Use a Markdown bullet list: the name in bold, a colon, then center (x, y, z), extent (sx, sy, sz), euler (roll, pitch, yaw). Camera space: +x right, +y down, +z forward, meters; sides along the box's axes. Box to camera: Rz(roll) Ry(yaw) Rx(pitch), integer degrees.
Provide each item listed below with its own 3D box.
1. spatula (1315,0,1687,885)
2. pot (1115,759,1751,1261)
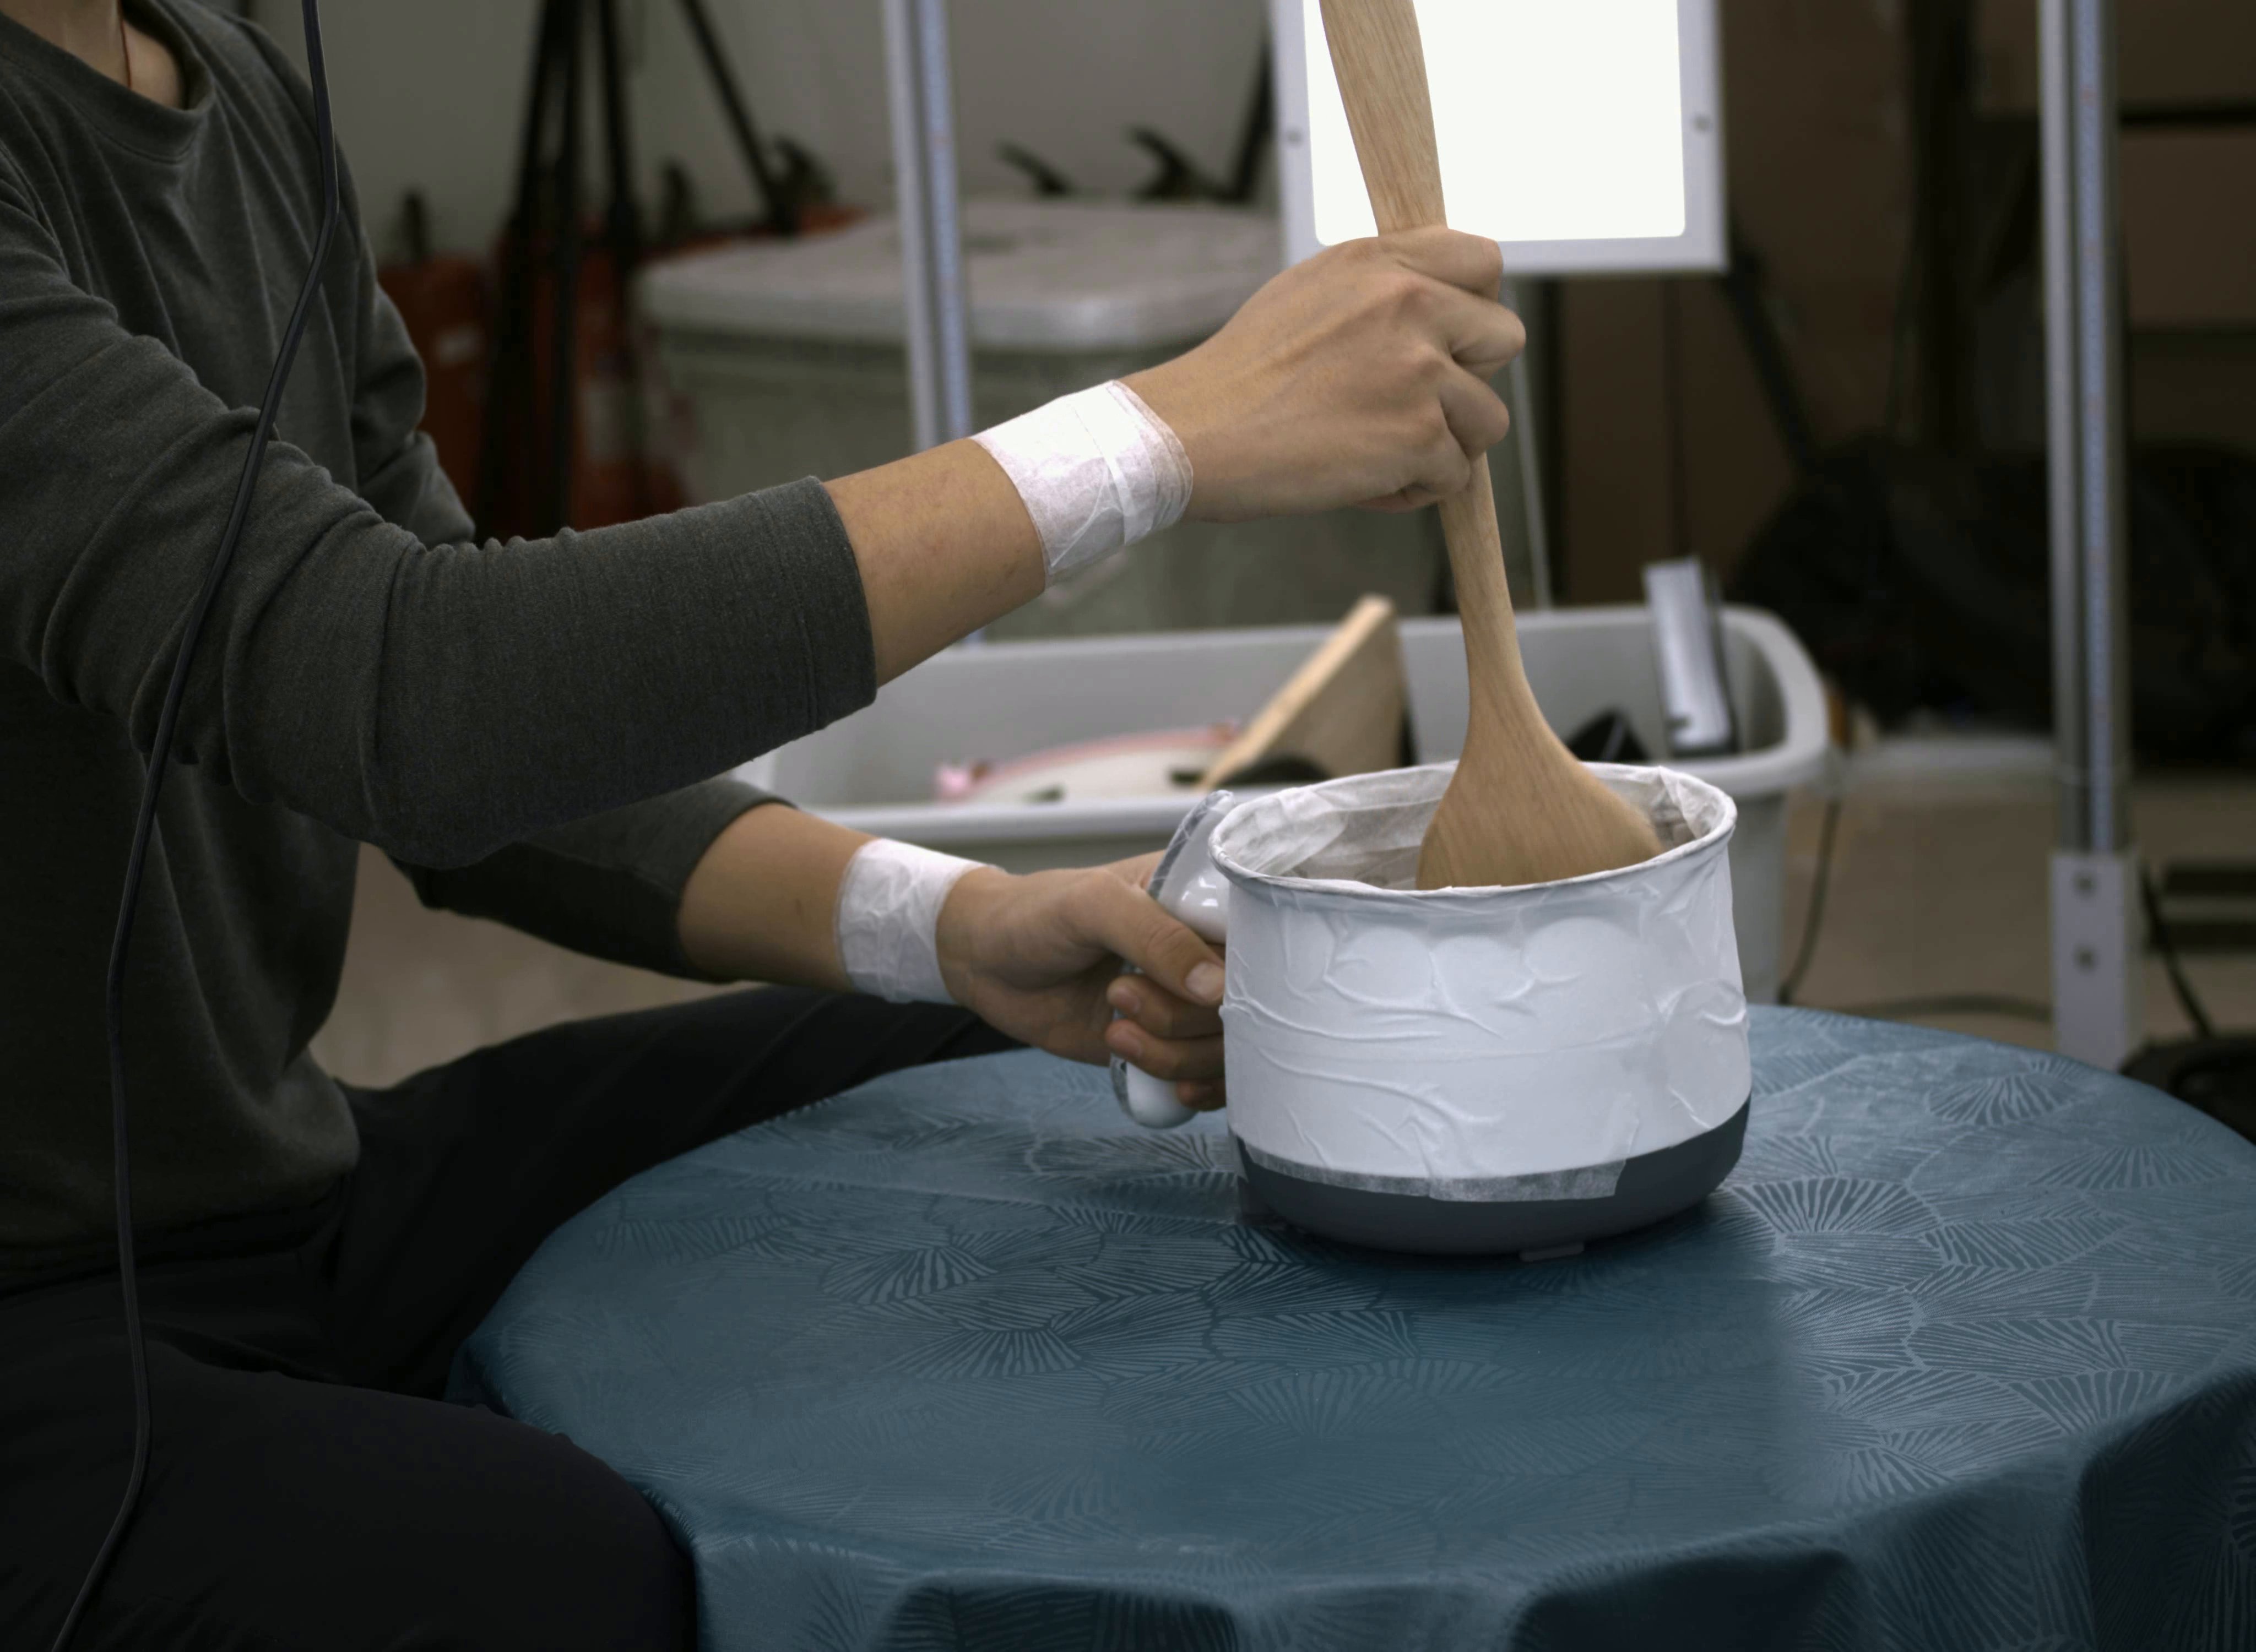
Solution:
- **spatula**: center (0.115, -0.118, 1.801), extent (0.097, 0.391, 0.018), euler (-7, 17, 20)
- **pot**: center (0.096, 0.058, 1.858), extent (0.238, 0.137, 0.174), euler (4, 16, 33)
